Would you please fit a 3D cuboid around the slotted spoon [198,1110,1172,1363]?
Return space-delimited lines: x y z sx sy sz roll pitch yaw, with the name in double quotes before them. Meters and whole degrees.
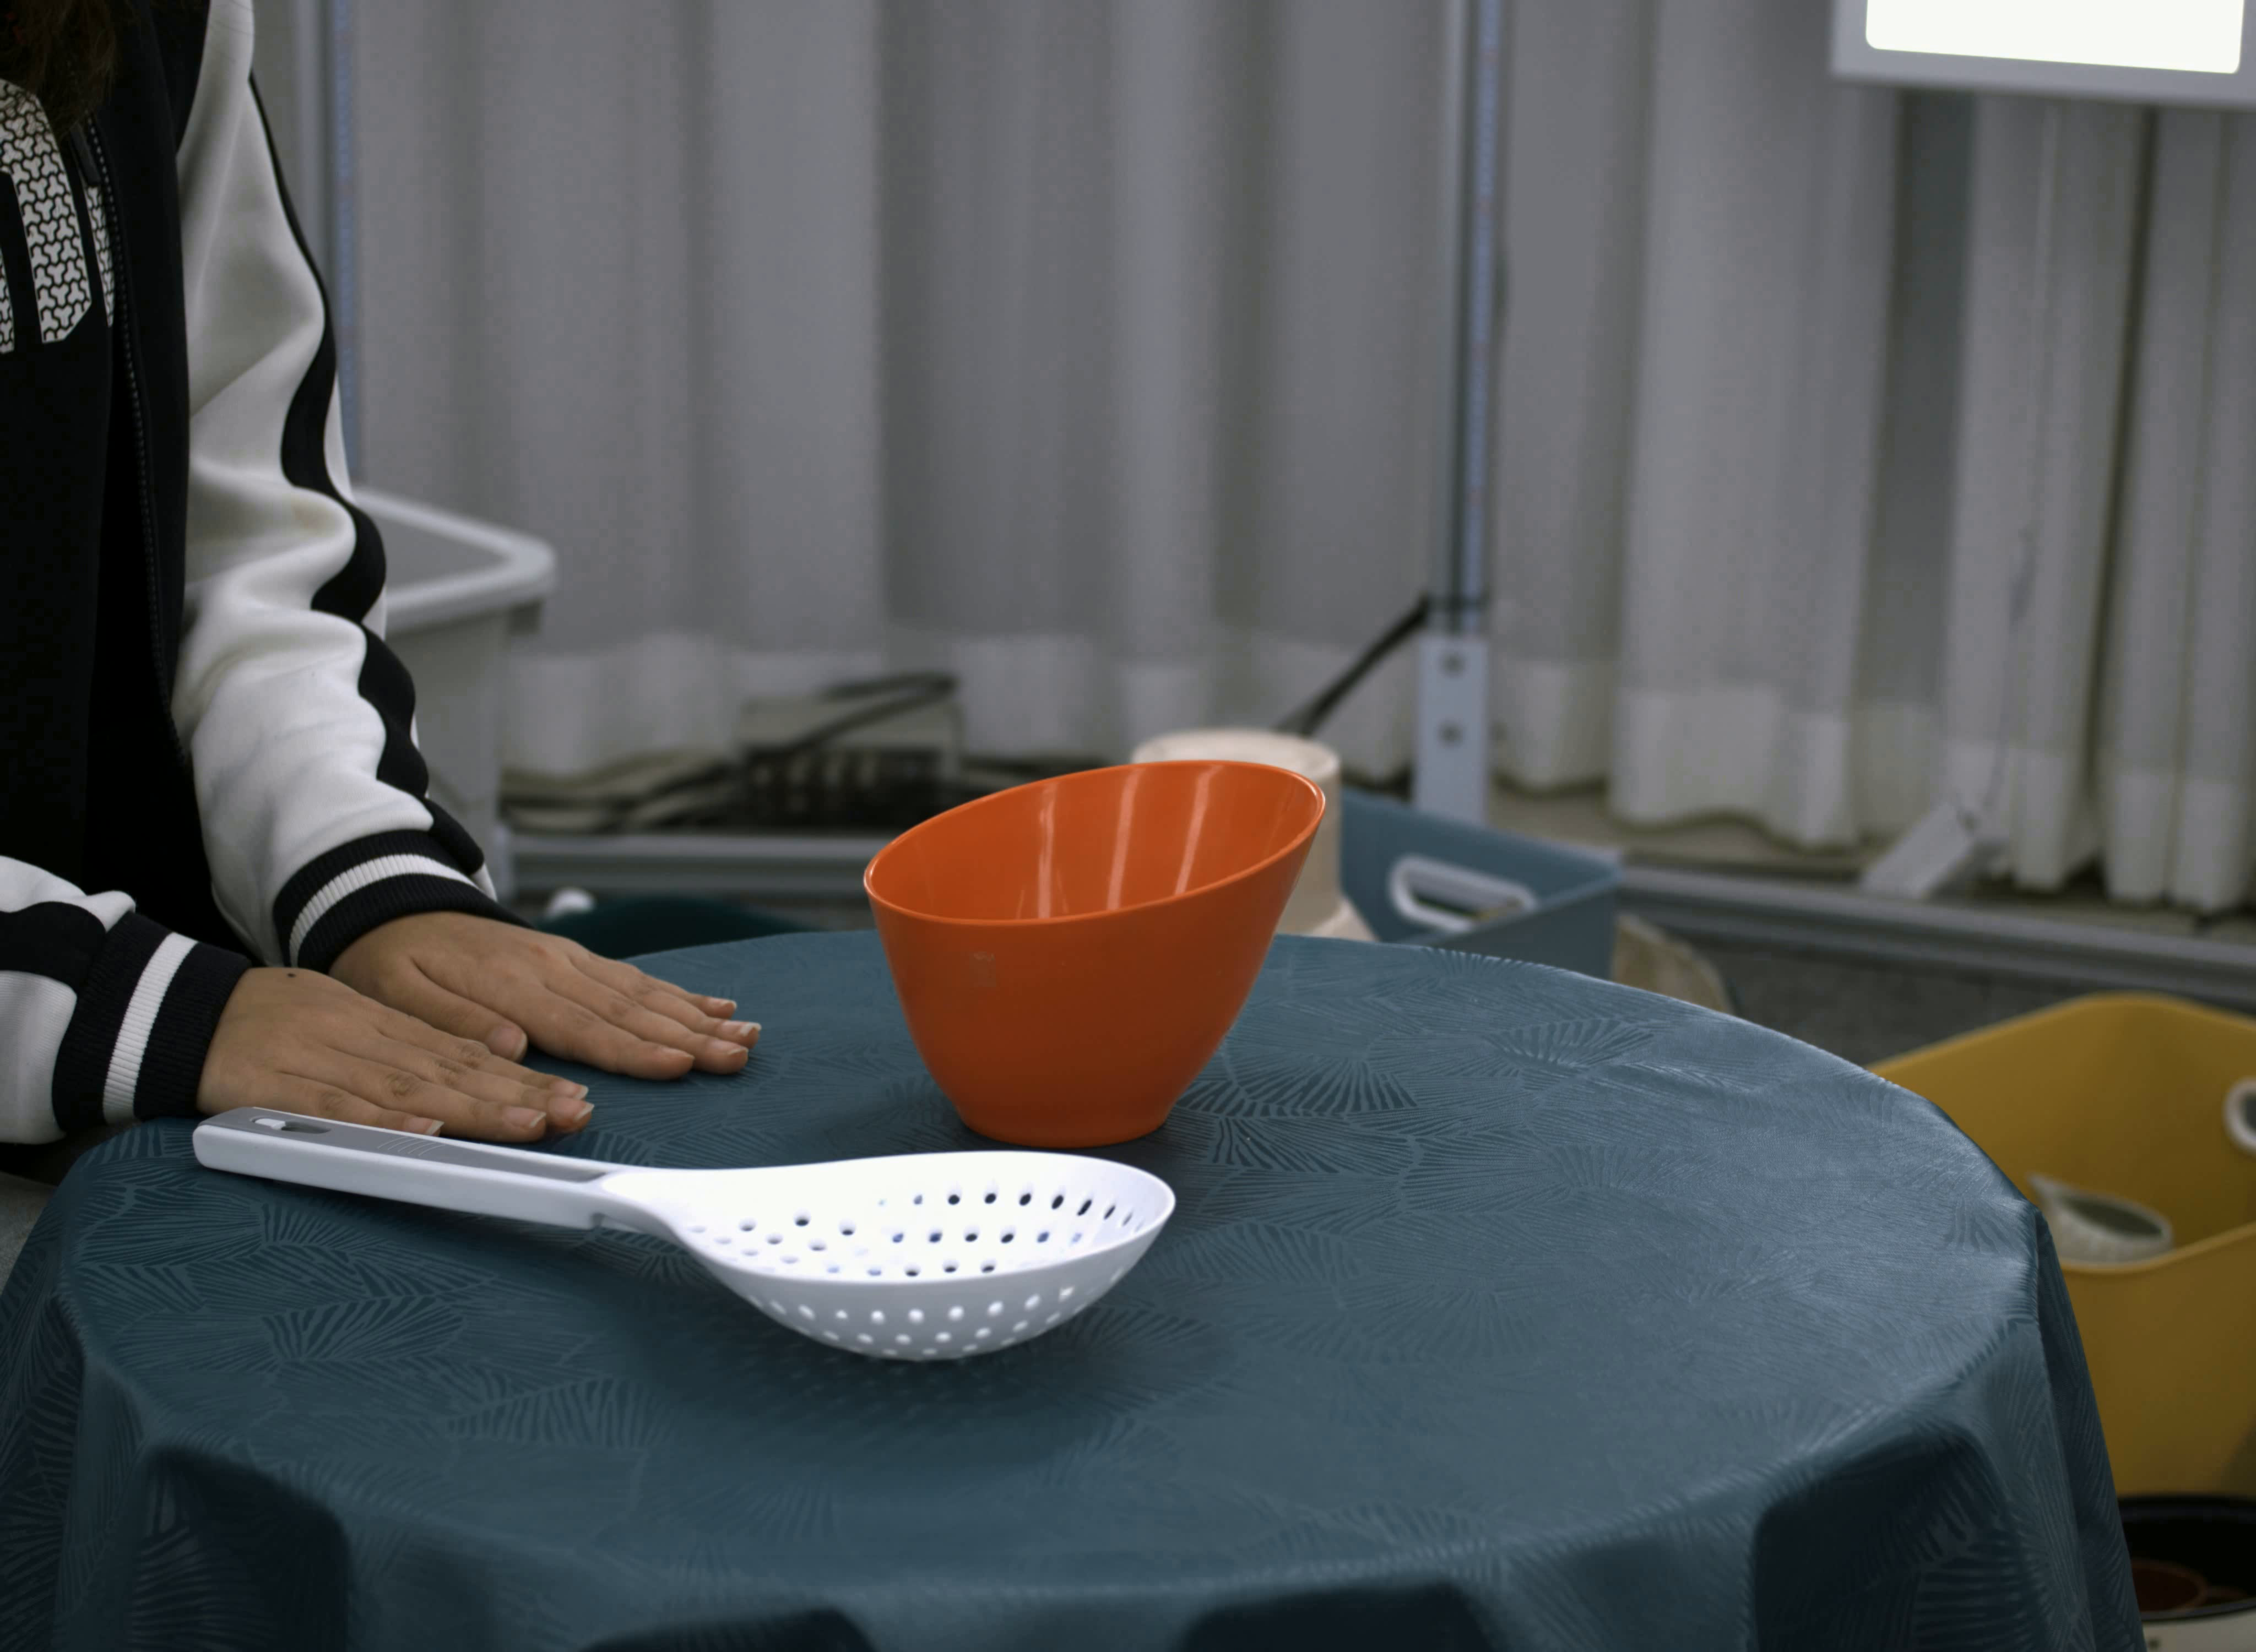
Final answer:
"slotted spoon" -0.142 0.110 1.542 0.345 0.046 0.136 10 17 34

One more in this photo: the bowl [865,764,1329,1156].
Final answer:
"bowl" -0.009 0.045 1.678 0.147 0.105 0.147 0 17 1
